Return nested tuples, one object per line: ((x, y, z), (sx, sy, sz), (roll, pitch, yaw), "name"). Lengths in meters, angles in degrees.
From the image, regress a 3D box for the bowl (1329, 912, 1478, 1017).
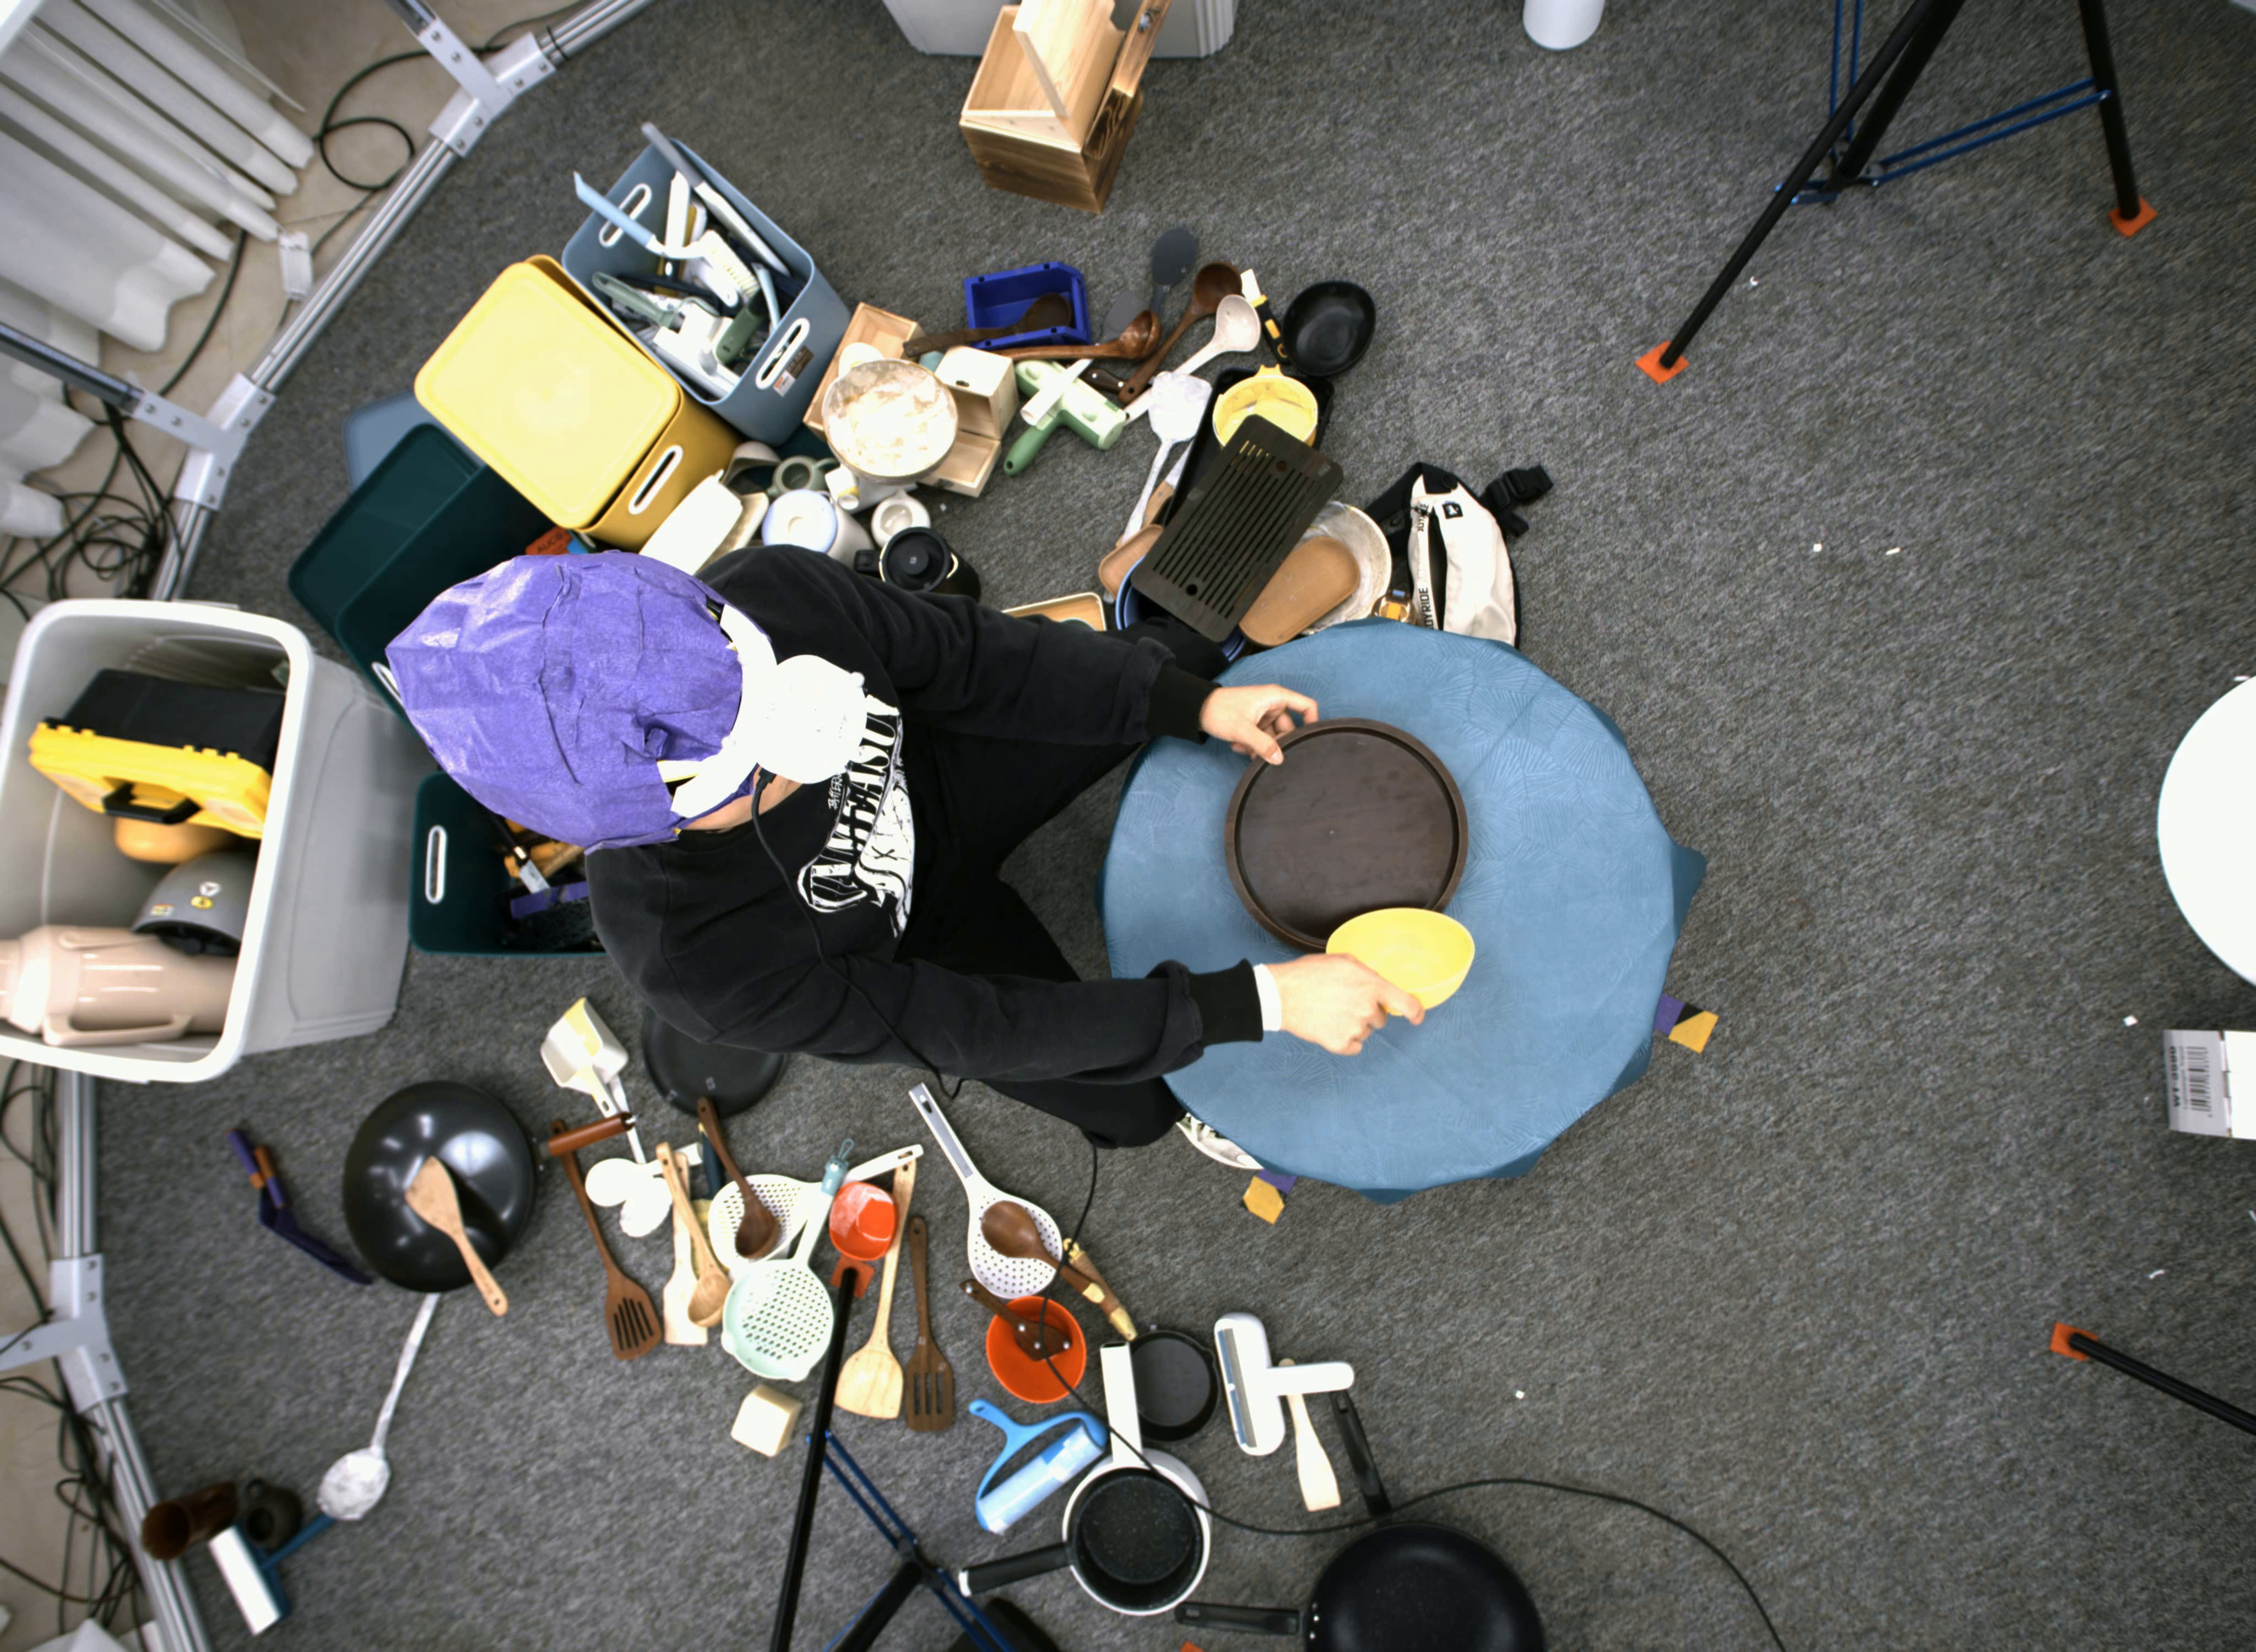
((0.273, 0.145, 1.373), (0.146, 0.142, 0.061), (-1, 119, 10), "bowl")

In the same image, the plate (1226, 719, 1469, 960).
((0.228, 0.014, 1.439), (0.255, 0.029, 0.257), (1, 100, 4), "plate")
